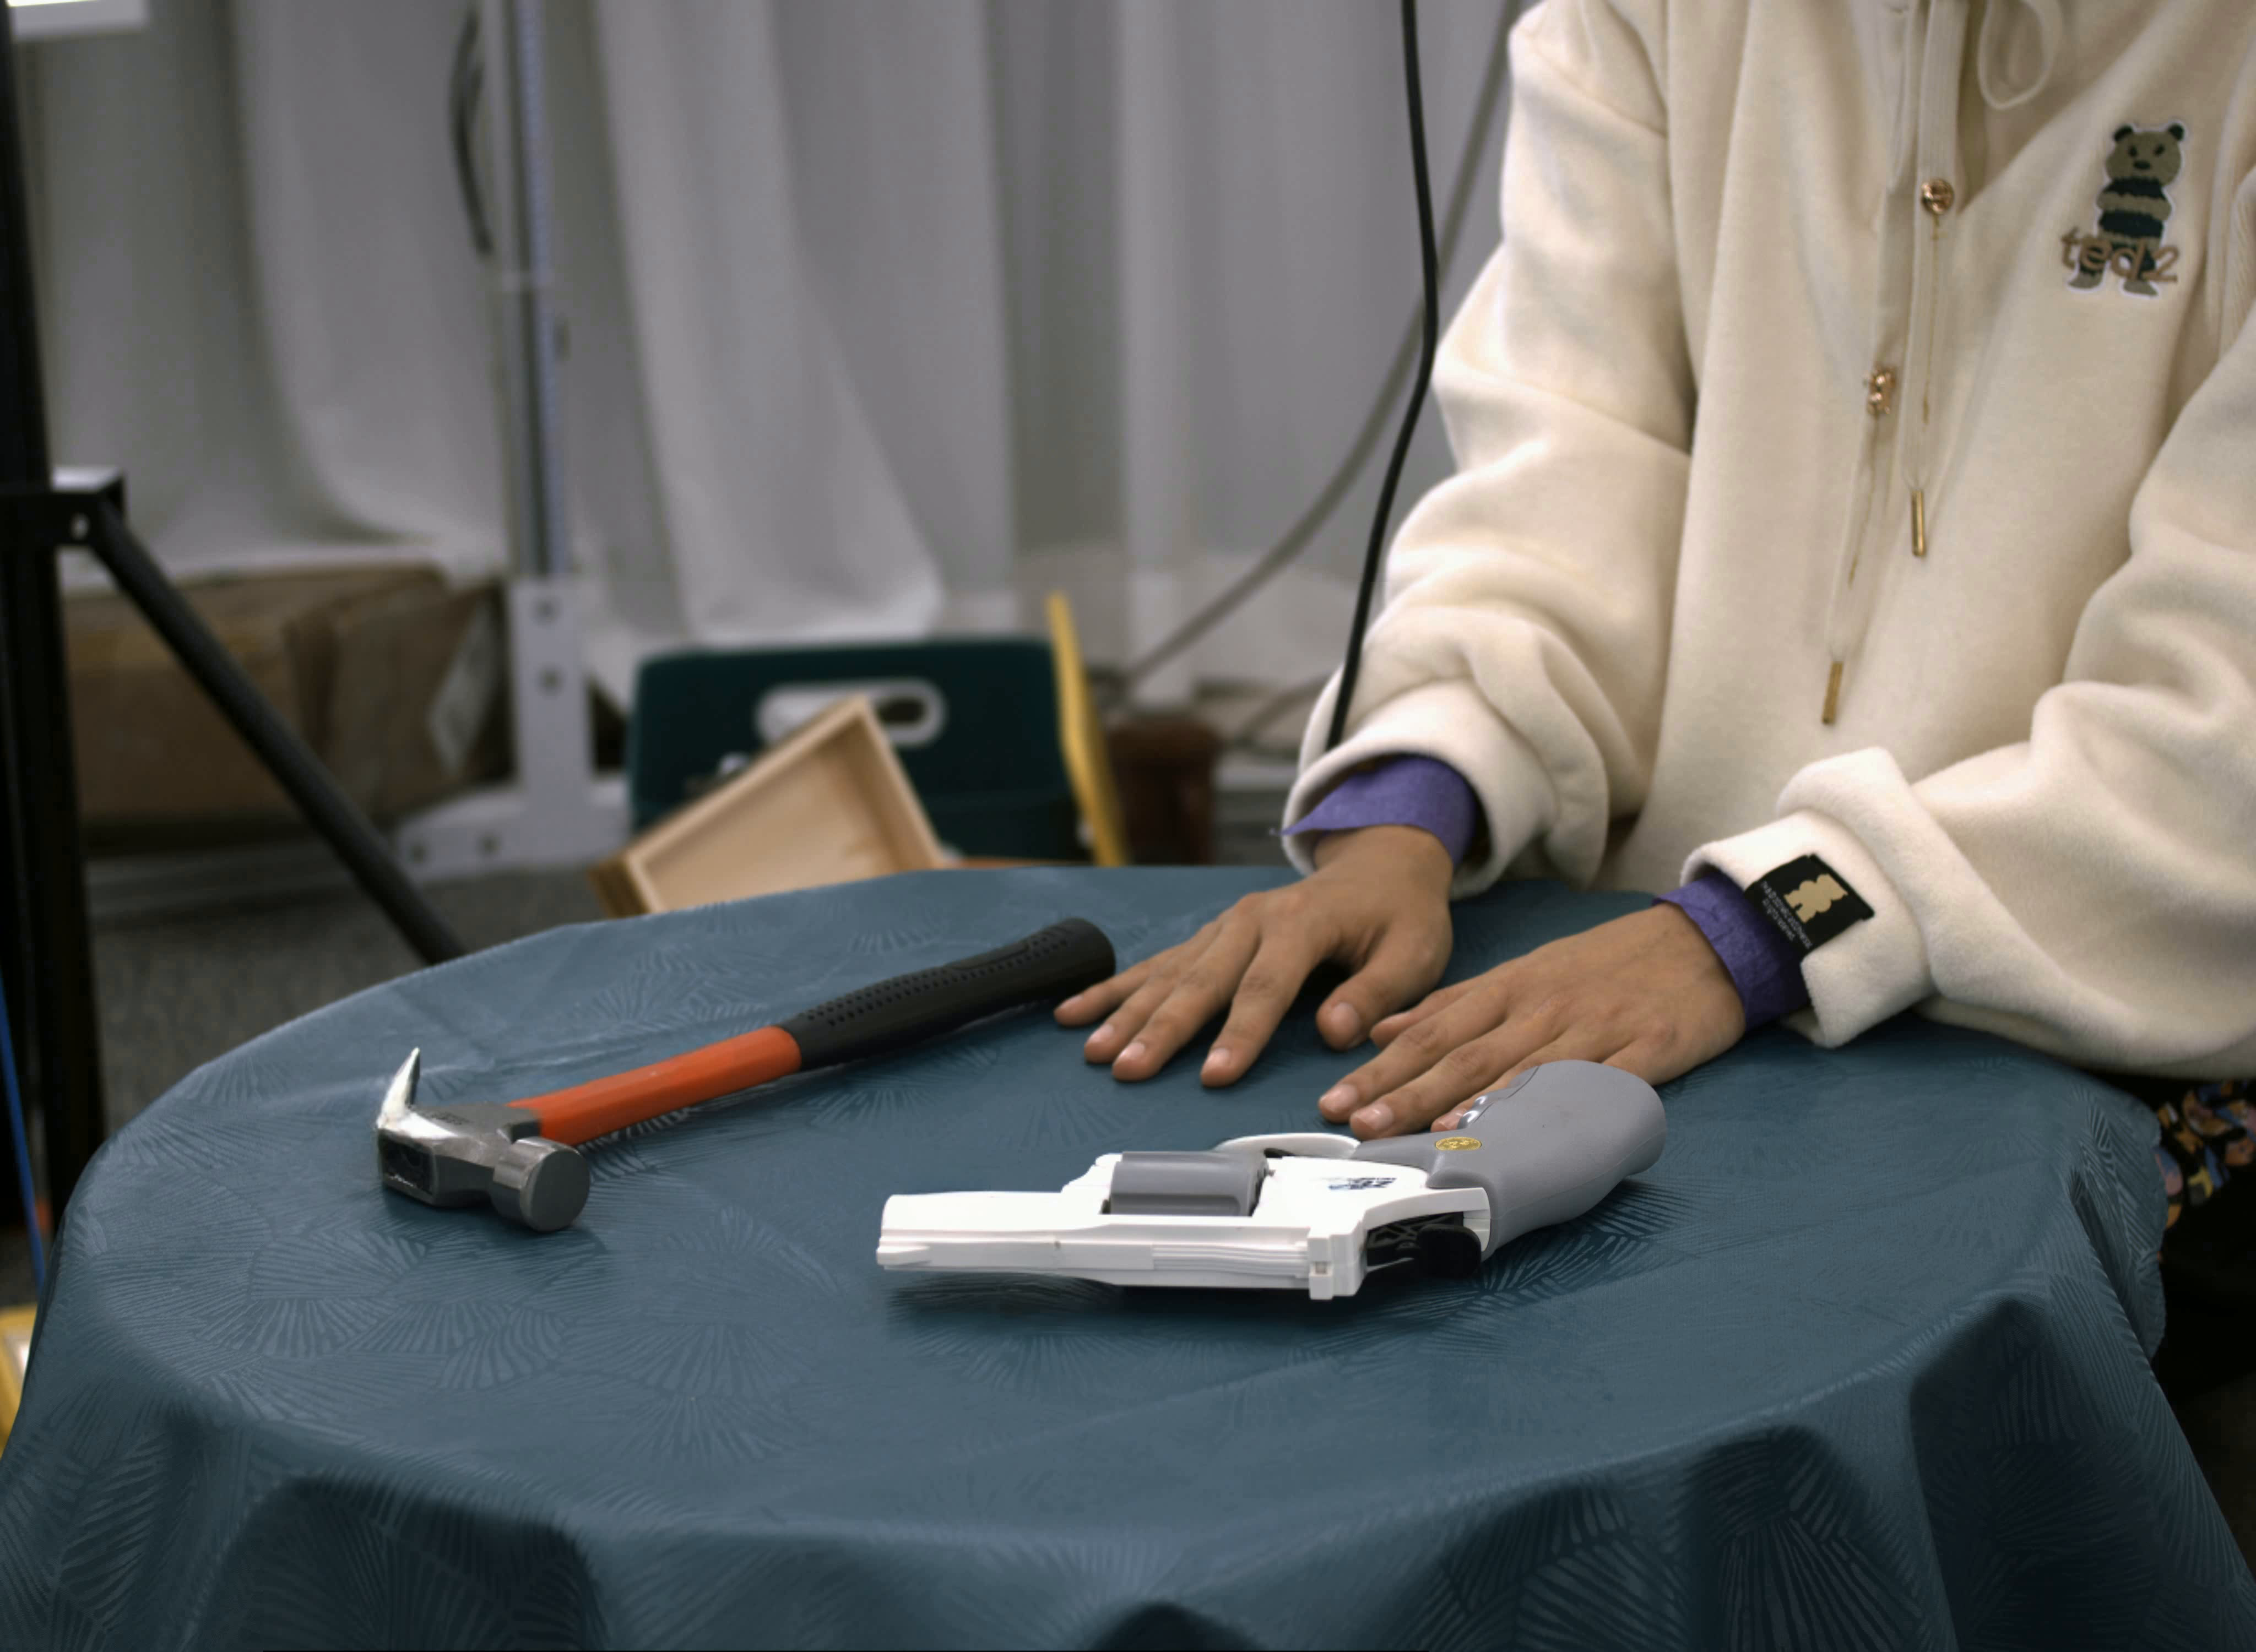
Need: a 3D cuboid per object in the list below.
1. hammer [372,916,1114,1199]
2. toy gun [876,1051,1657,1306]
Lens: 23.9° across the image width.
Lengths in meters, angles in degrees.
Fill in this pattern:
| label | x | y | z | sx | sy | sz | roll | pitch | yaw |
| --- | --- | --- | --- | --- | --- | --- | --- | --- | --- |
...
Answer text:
| label | x | y | z | sx | sy | sz | roll | pitch | yaw |
| --- | --- | --- | --- | --- | --- | --- | --- | --- | --- |
| hammer | -0.114 | 0.069 | 1.664 | 0.271 | 0.026 | 0.113 | -16 | 12 | -40 |
| toy gun | 0.042 | 0.101 | 1.503 | 0.210 | 0.039 | 0.141 | 0 | 17 | 11 |
